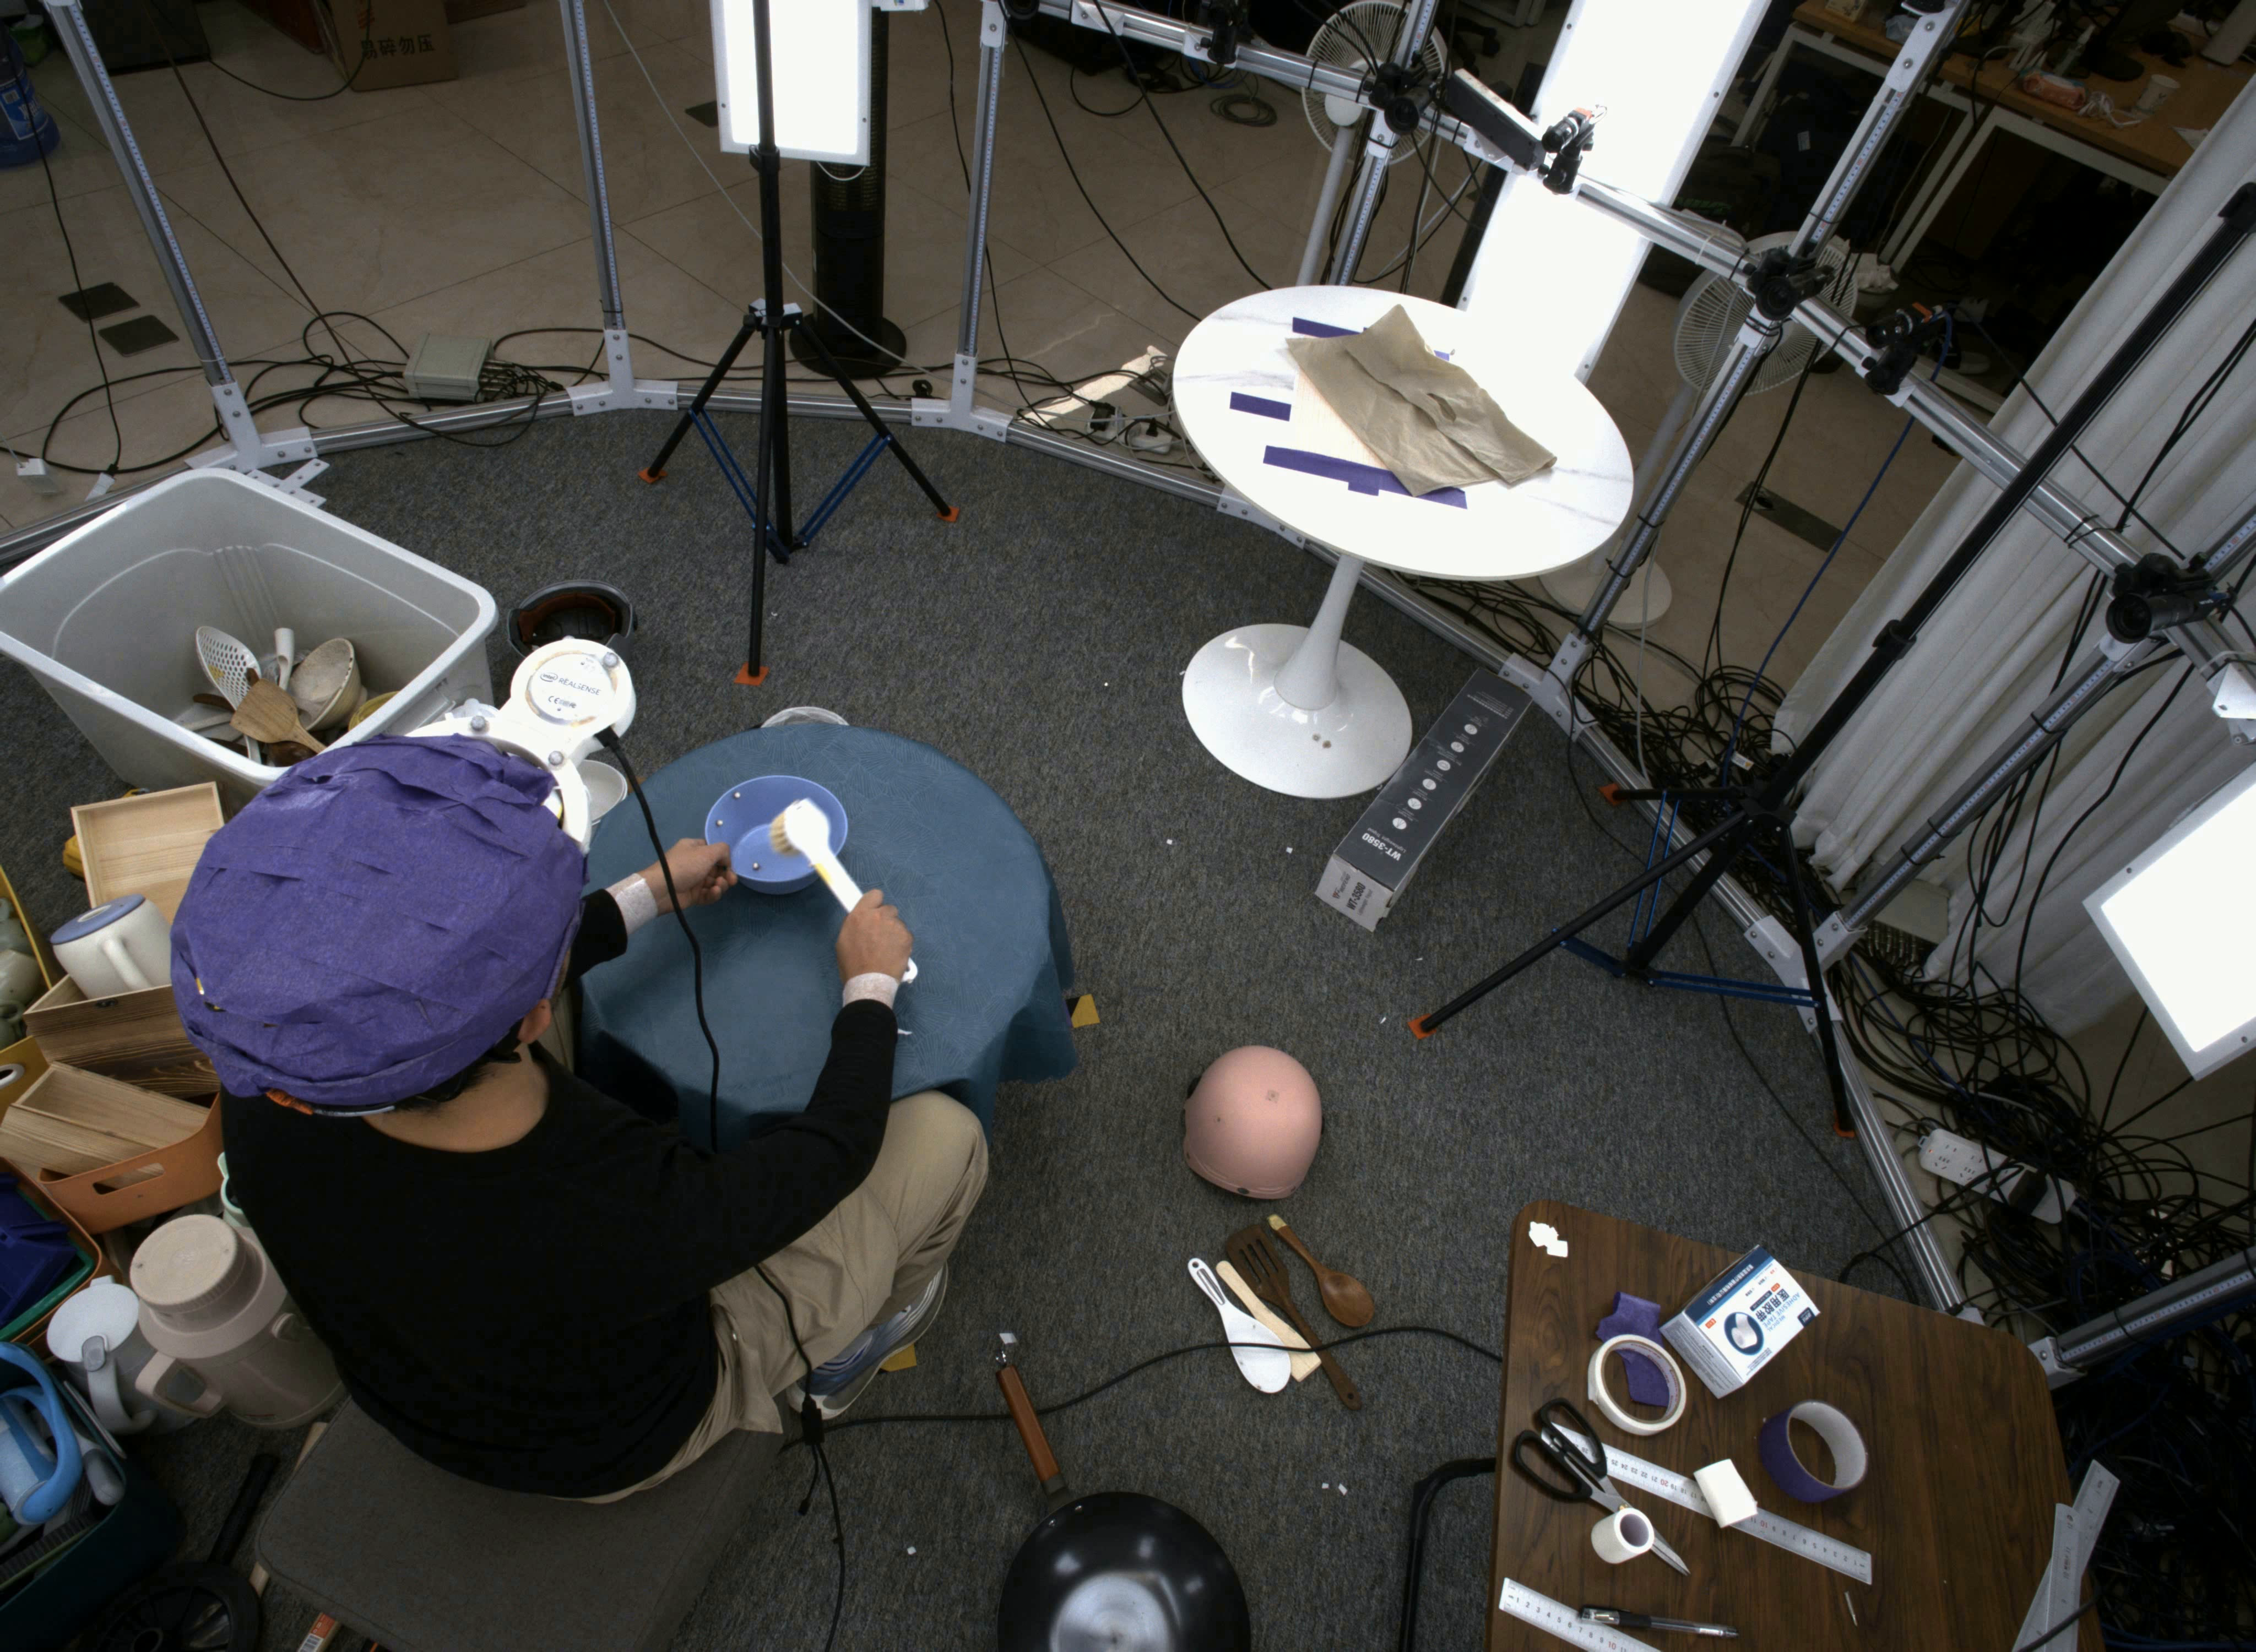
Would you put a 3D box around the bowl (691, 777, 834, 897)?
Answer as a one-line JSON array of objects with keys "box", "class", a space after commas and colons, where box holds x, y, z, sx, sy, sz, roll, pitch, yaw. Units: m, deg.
[{"box": [-0.460, 0.023, 1.641, 0.175, 0.072, 0.173, 7, 49, -6], "class": "bowl"}]

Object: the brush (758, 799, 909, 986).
[{"box": [-0.354, 0.085, 1.564, 0.069, 0.056, 0.267, -34, 90, -39], "class": "brush"}]
